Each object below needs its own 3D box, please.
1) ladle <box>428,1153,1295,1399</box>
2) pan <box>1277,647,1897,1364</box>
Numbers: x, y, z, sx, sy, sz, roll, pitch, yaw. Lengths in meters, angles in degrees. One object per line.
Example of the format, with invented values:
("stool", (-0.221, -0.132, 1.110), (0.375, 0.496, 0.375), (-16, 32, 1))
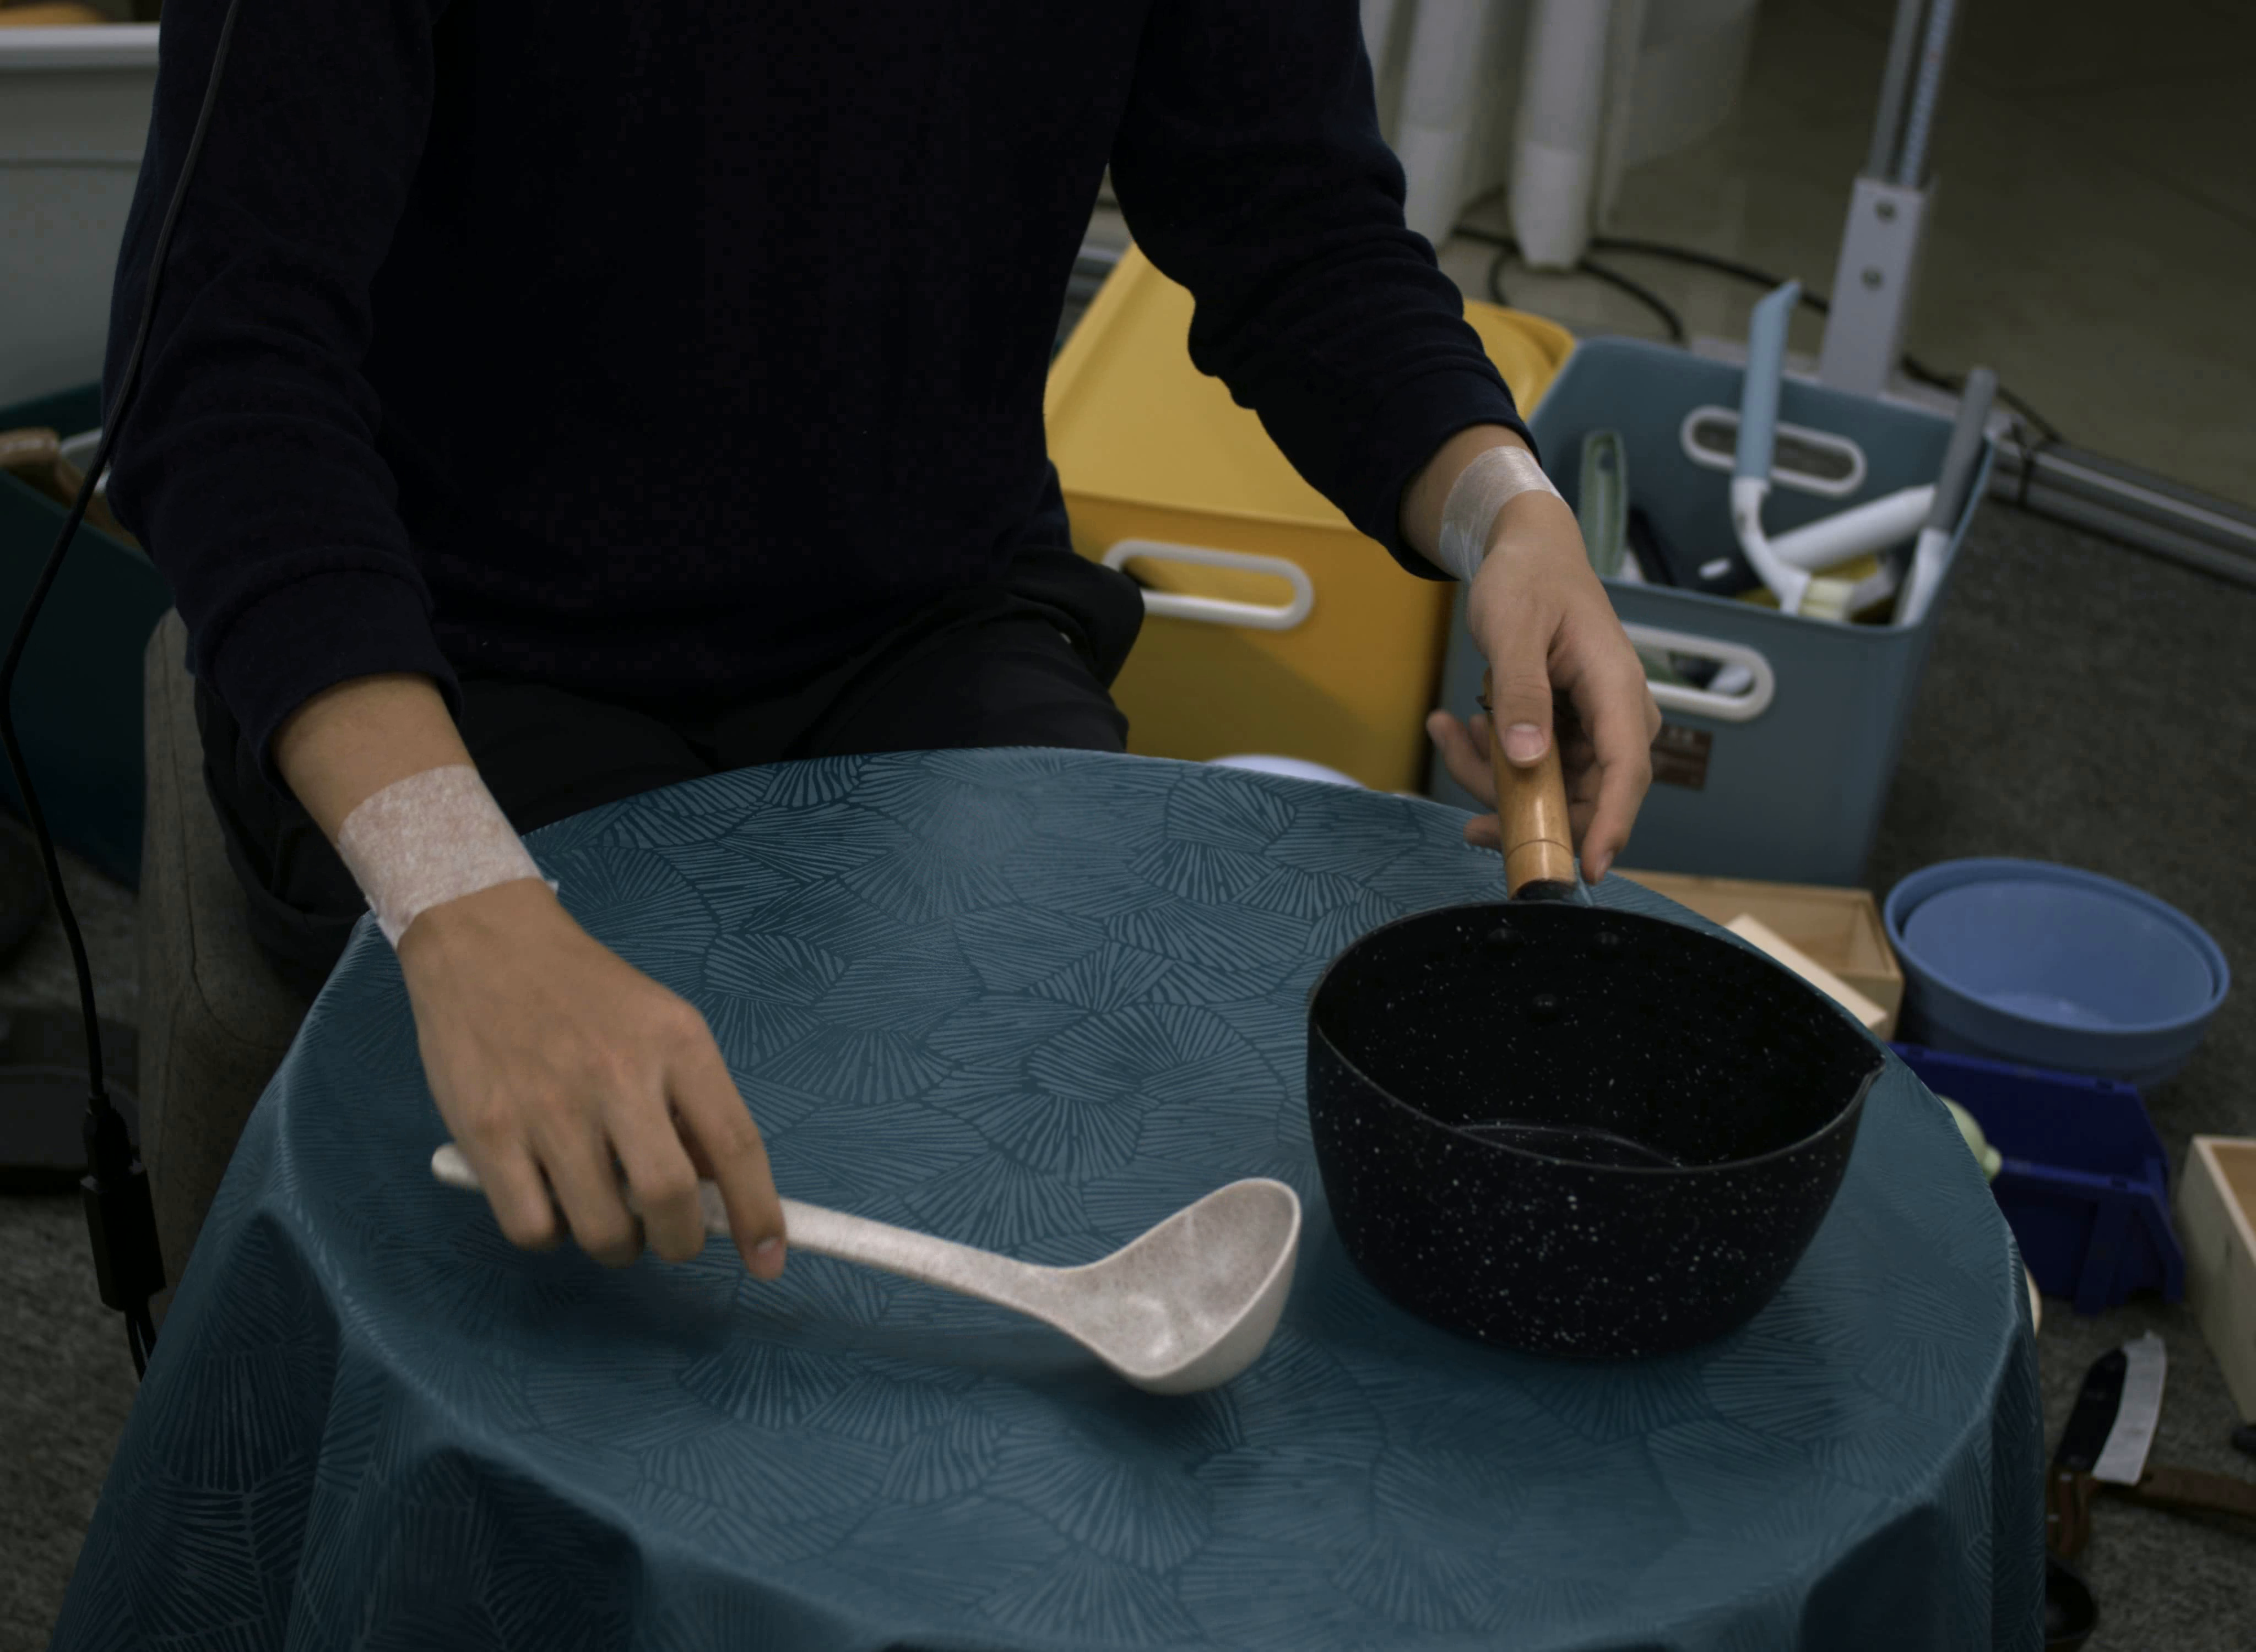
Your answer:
("ladle", (-0.084, 0.119, 1.683), (0.274, 0.069, 0.090), (14, 37, 0))
("pan", (0.145, 0.058, 1.845), (0.206, 0.108, 0.345), (3, 28, -5))
